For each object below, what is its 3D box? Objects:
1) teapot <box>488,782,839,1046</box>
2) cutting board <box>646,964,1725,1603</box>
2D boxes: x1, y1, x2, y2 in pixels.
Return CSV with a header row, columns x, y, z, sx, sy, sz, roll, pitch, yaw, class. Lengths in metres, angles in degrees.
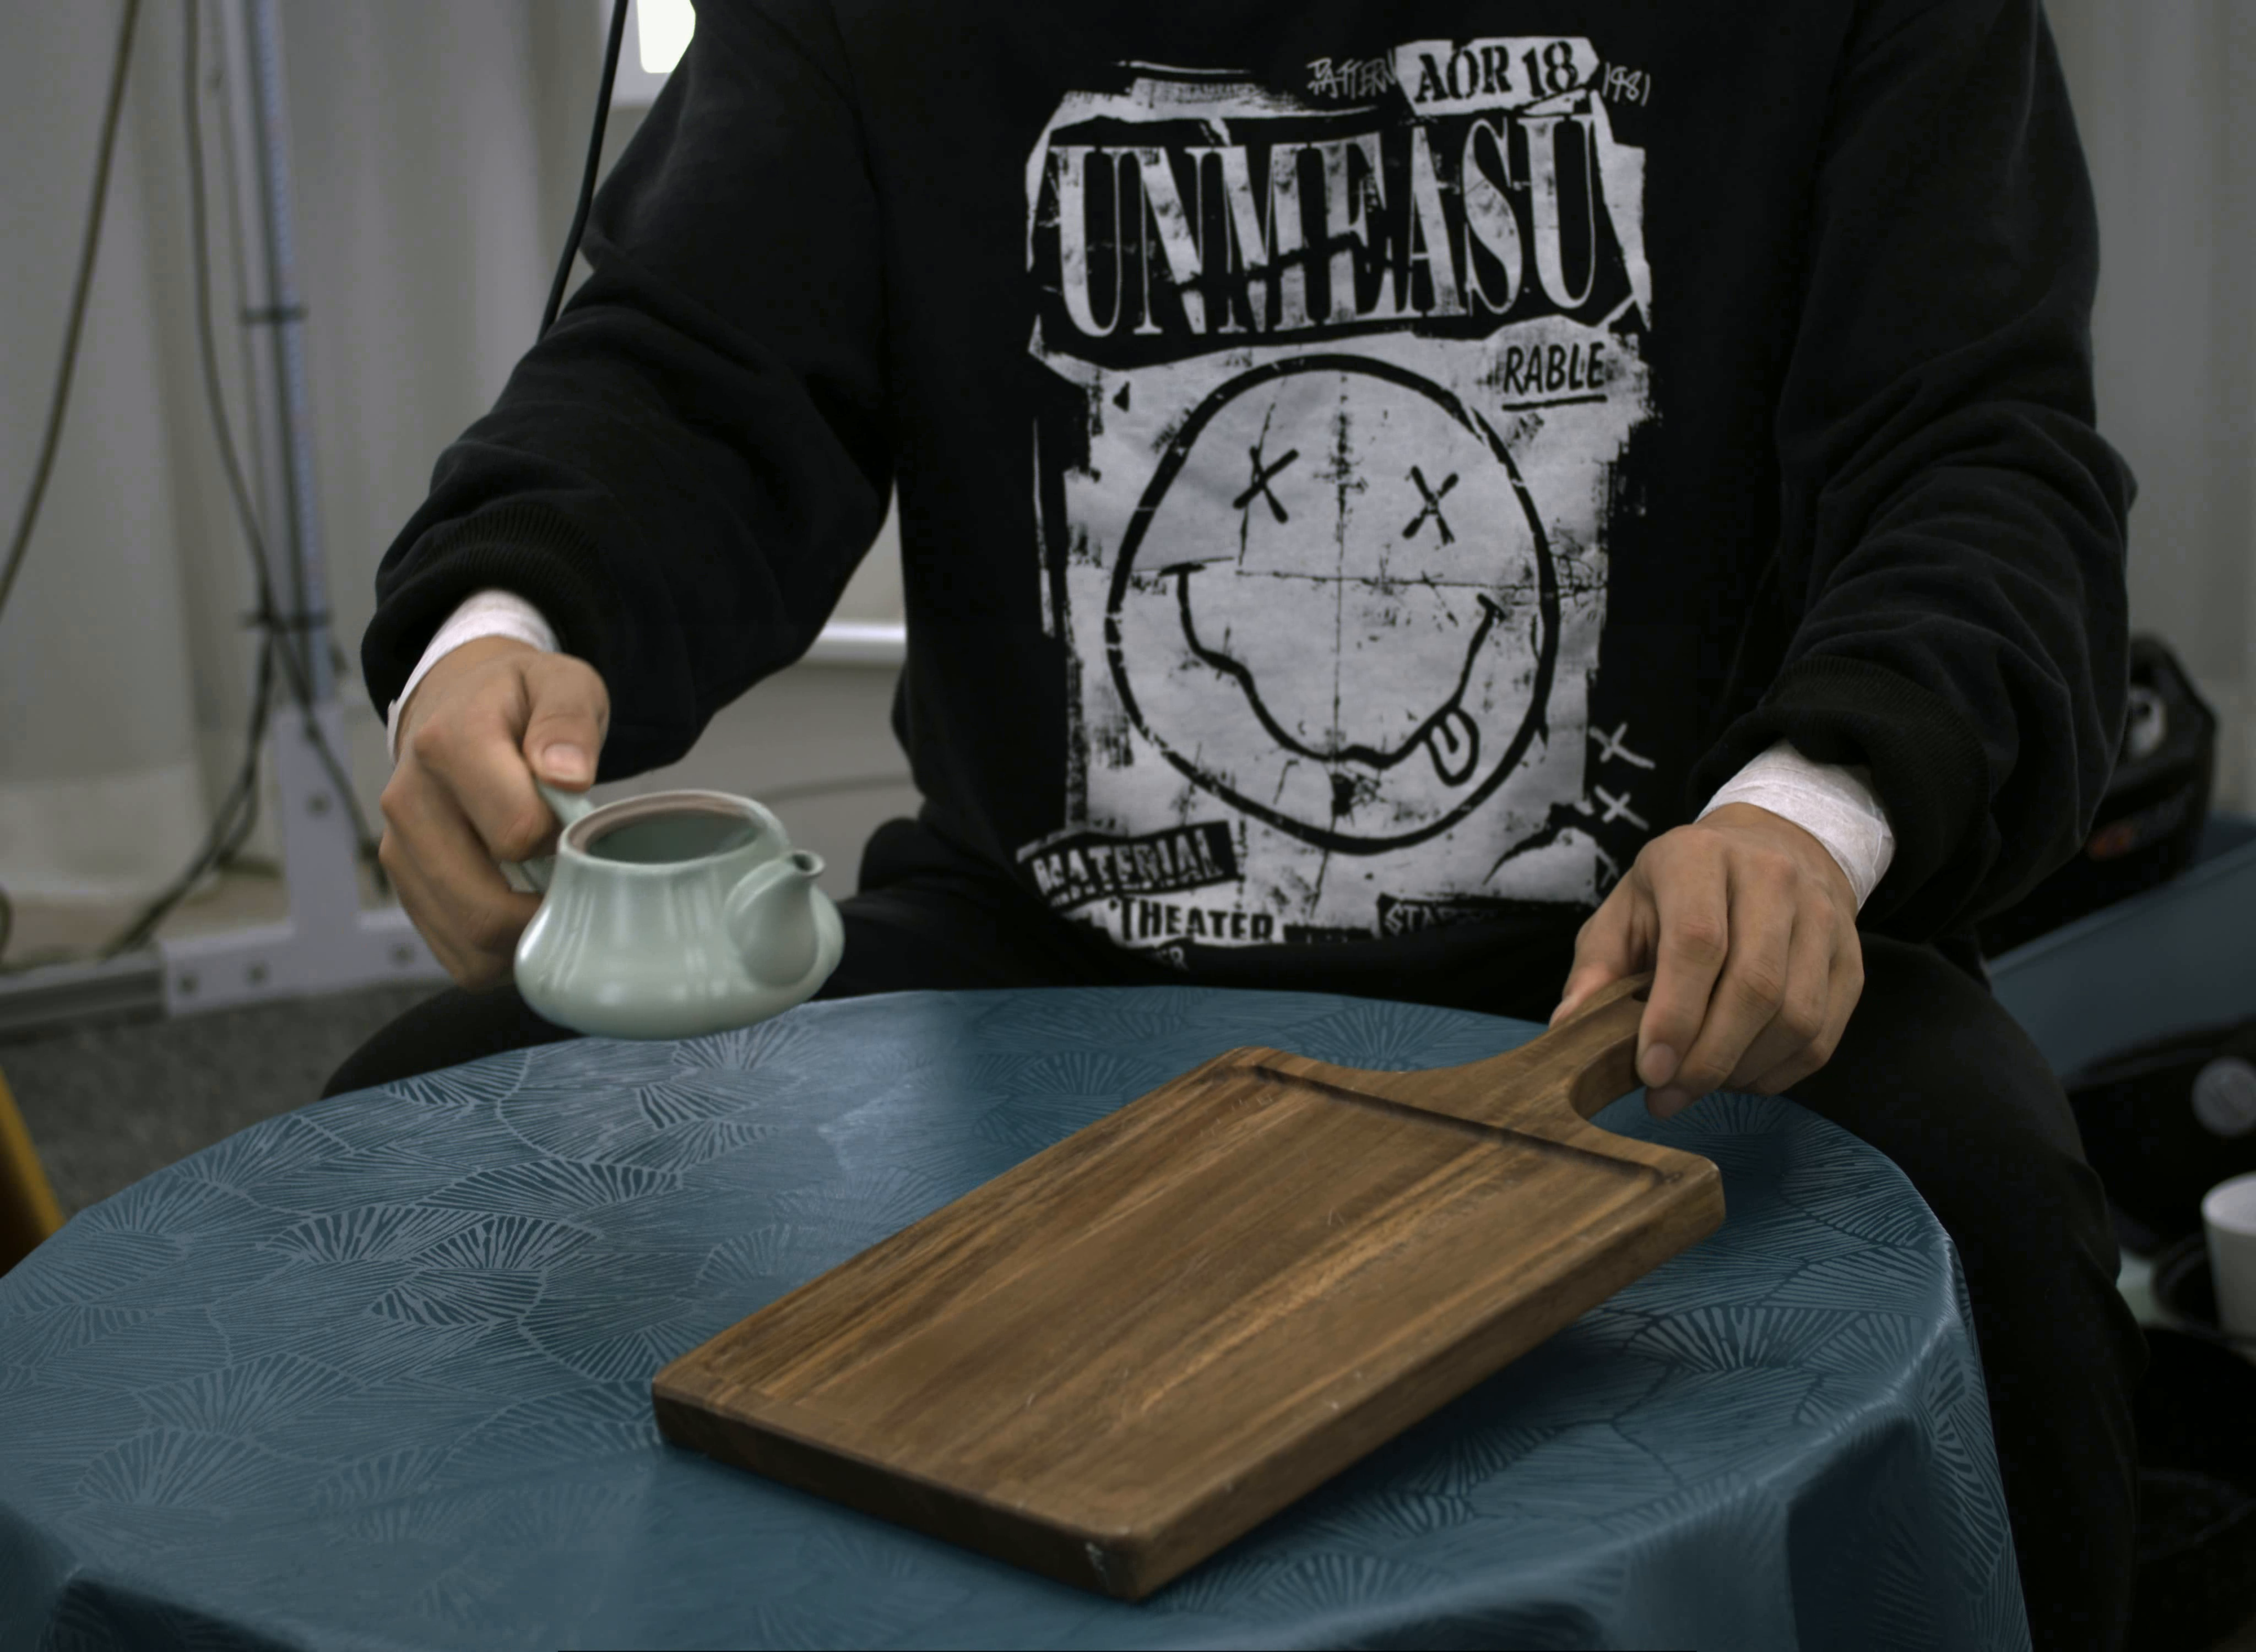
x,y,z,sx,sy,sz,roll,pitch,yaw,class
-0.137,0.025,1.600,0.138,0.061,0.096,14,28,40,teapot
0.051,0.115,1.566,0.202,0.023,0.352,12,29,43,cutting board
